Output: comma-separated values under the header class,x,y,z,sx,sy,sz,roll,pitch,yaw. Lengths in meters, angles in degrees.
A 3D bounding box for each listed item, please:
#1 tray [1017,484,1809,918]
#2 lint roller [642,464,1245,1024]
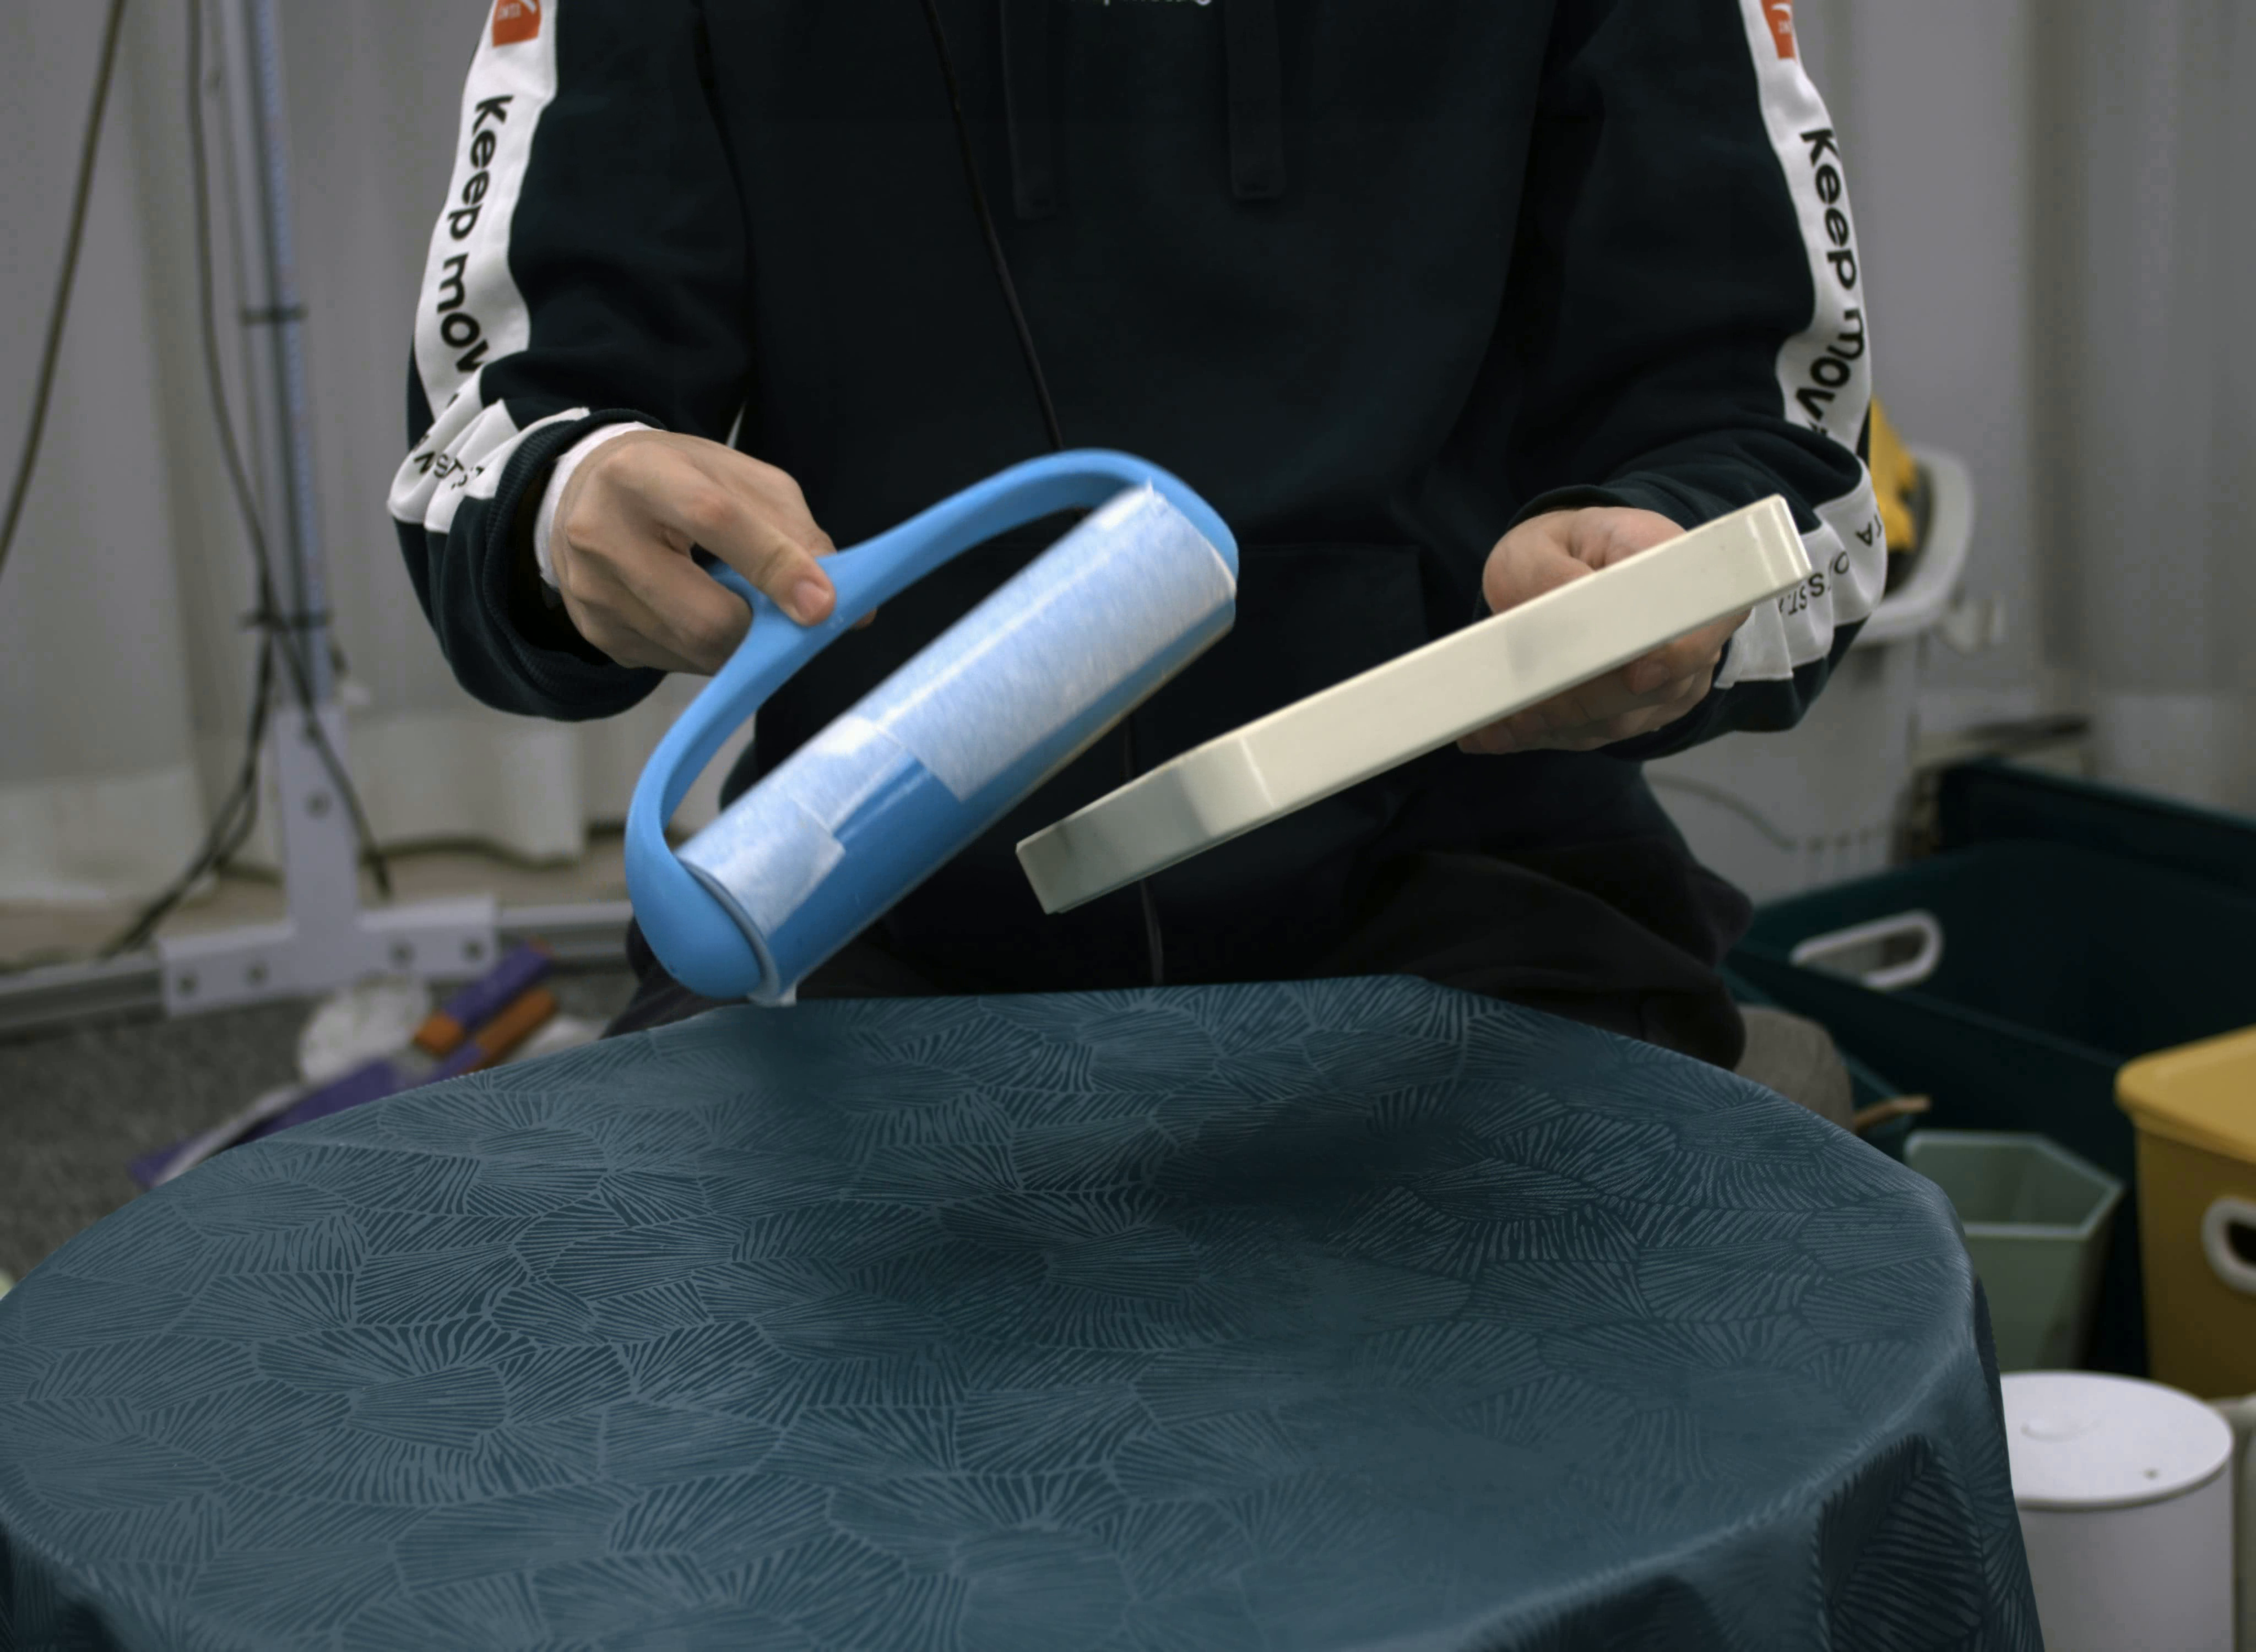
class,x,y,z,sx,sy,sz,roll,pitch,yaw
tray,0.077,-0.032,1.635,0.191,0.027,0.300,-24,-1,-12
lint roller,-0.092,-0.044,1.681,0.182,0.067,0.230,27,59,34
